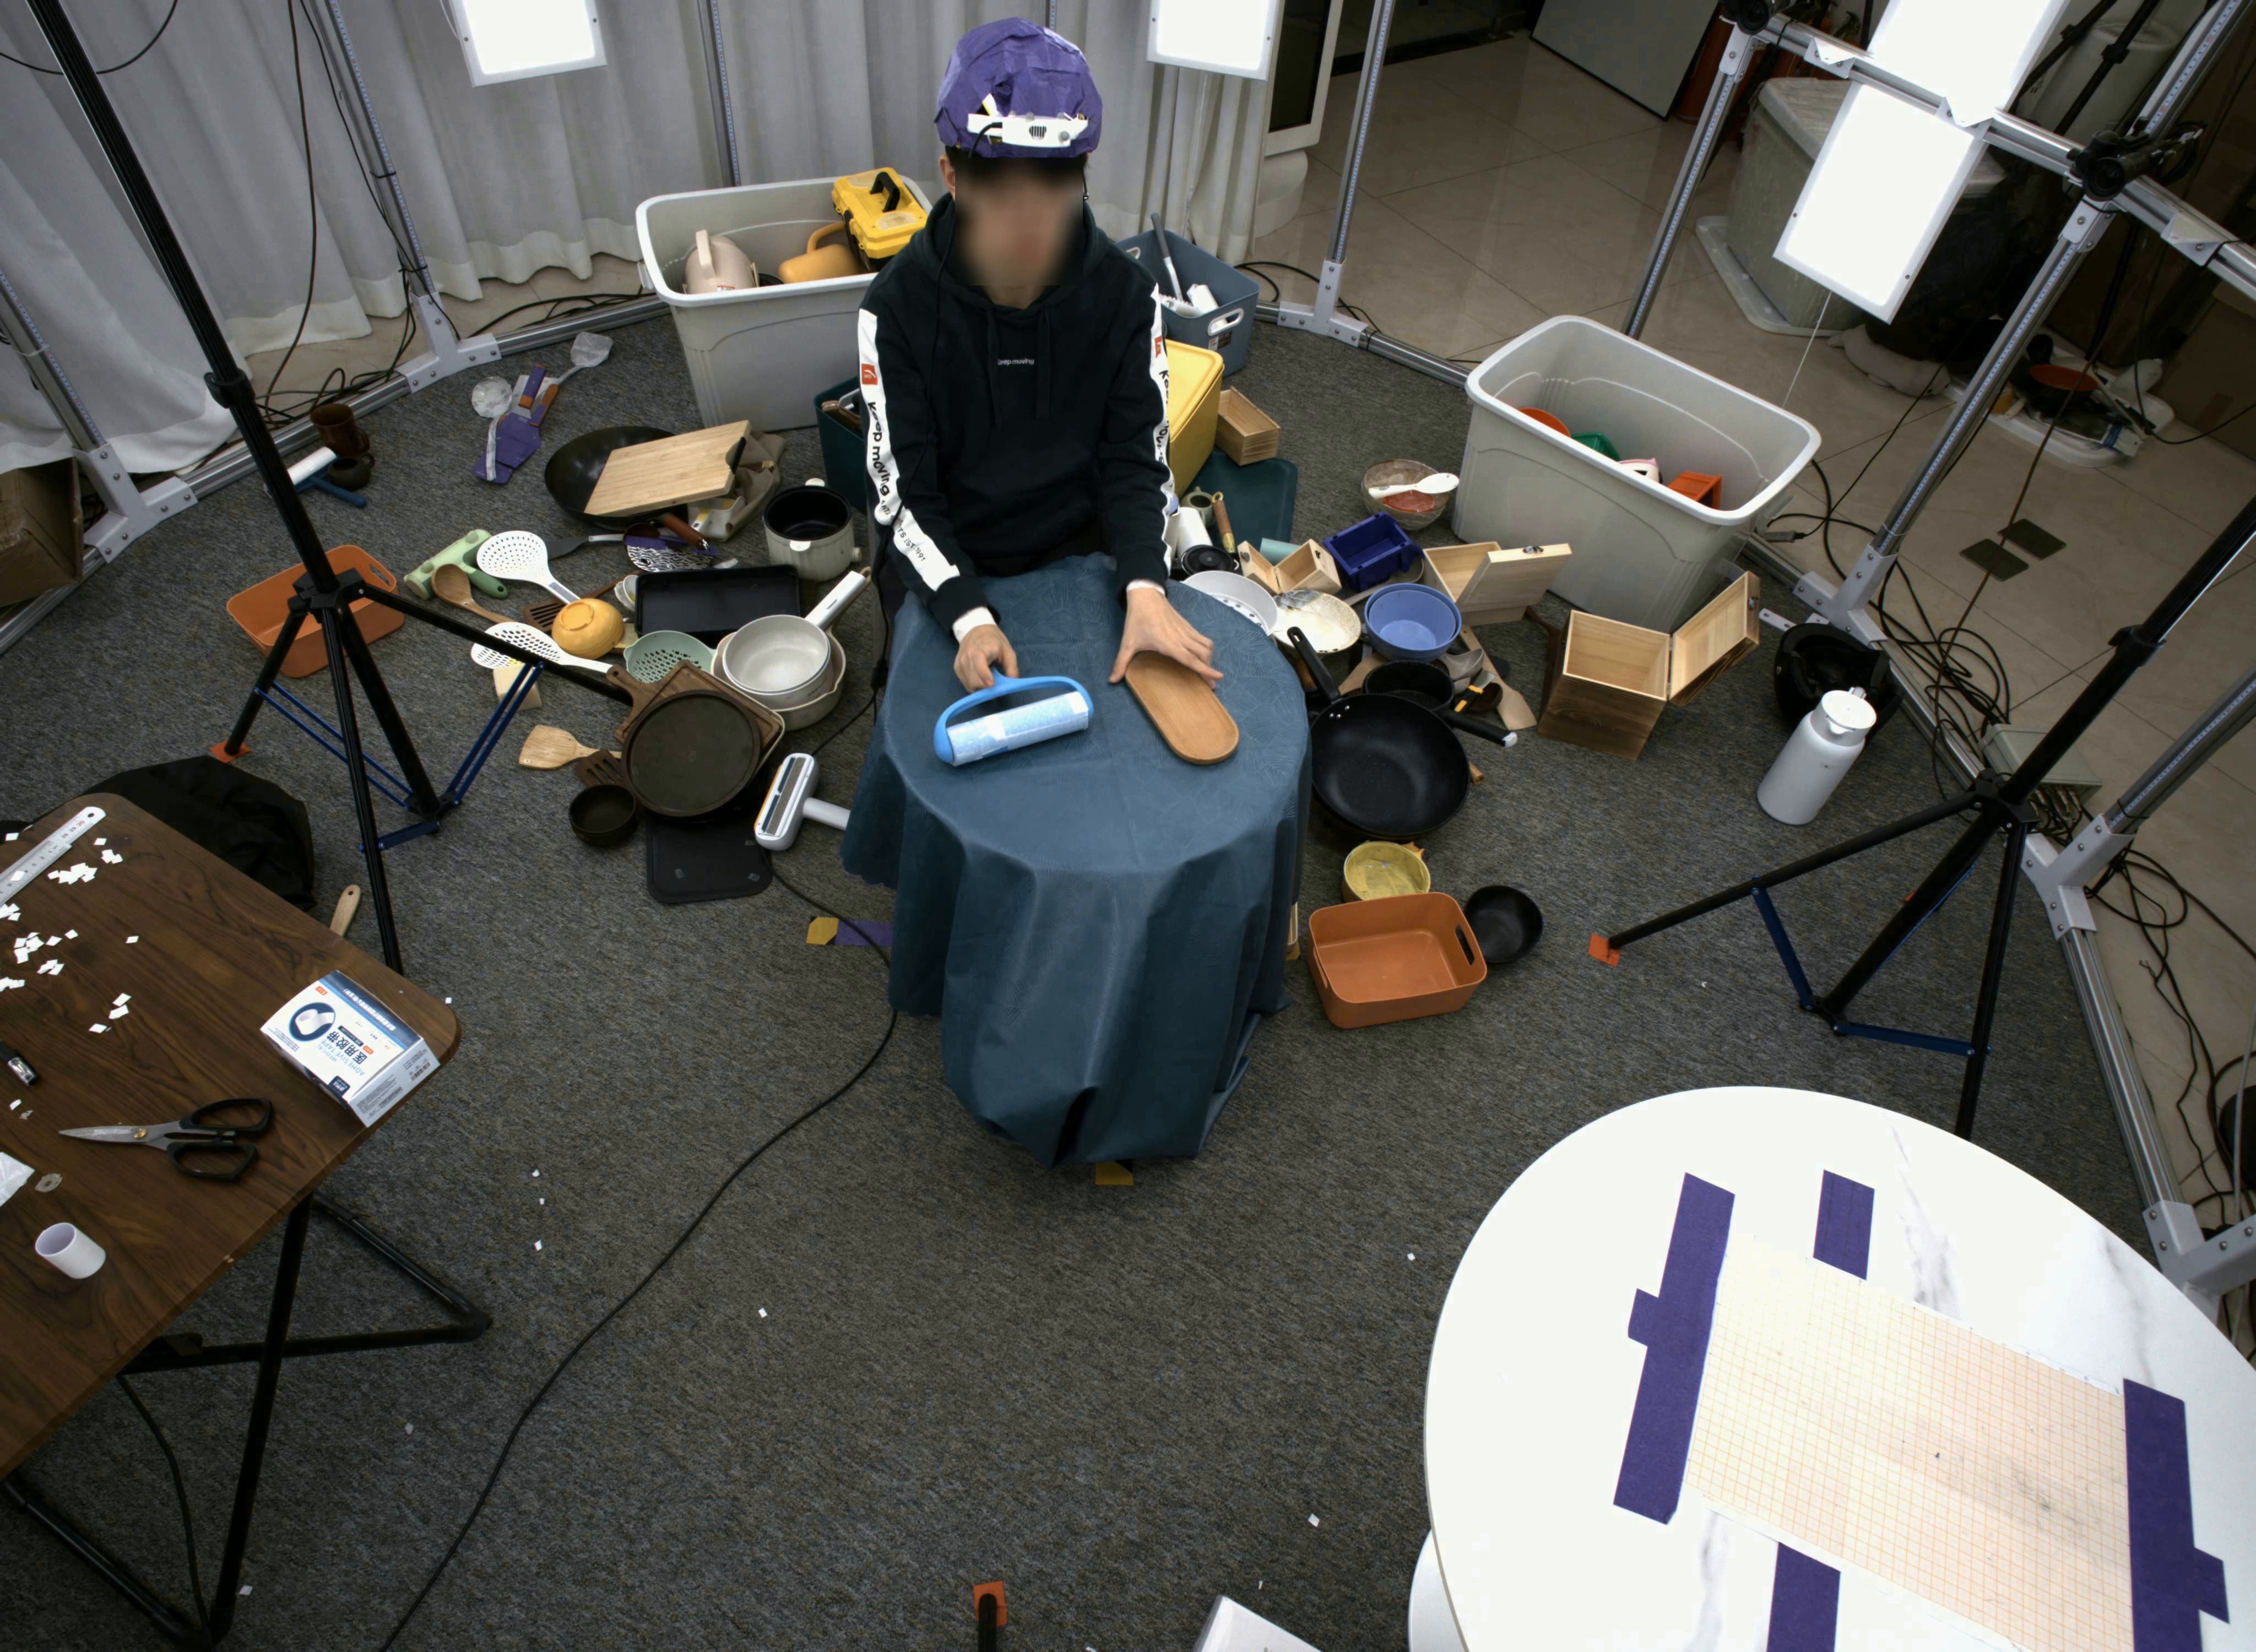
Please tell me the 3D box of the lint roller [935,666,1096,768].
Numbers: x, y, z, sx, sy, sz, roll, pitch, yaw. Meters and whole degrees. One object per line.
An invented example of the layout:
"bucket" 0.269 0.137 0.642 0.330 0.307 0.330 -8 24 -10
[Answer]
"lint roller" -0.178 -0.175 1.771 0.229 0.066 0.184 -21 55 -19

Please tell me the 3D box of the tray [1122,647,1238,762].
"tray" 0.071 -0.173 1.813 0.102 0.020 0.236 -19 51 -19
